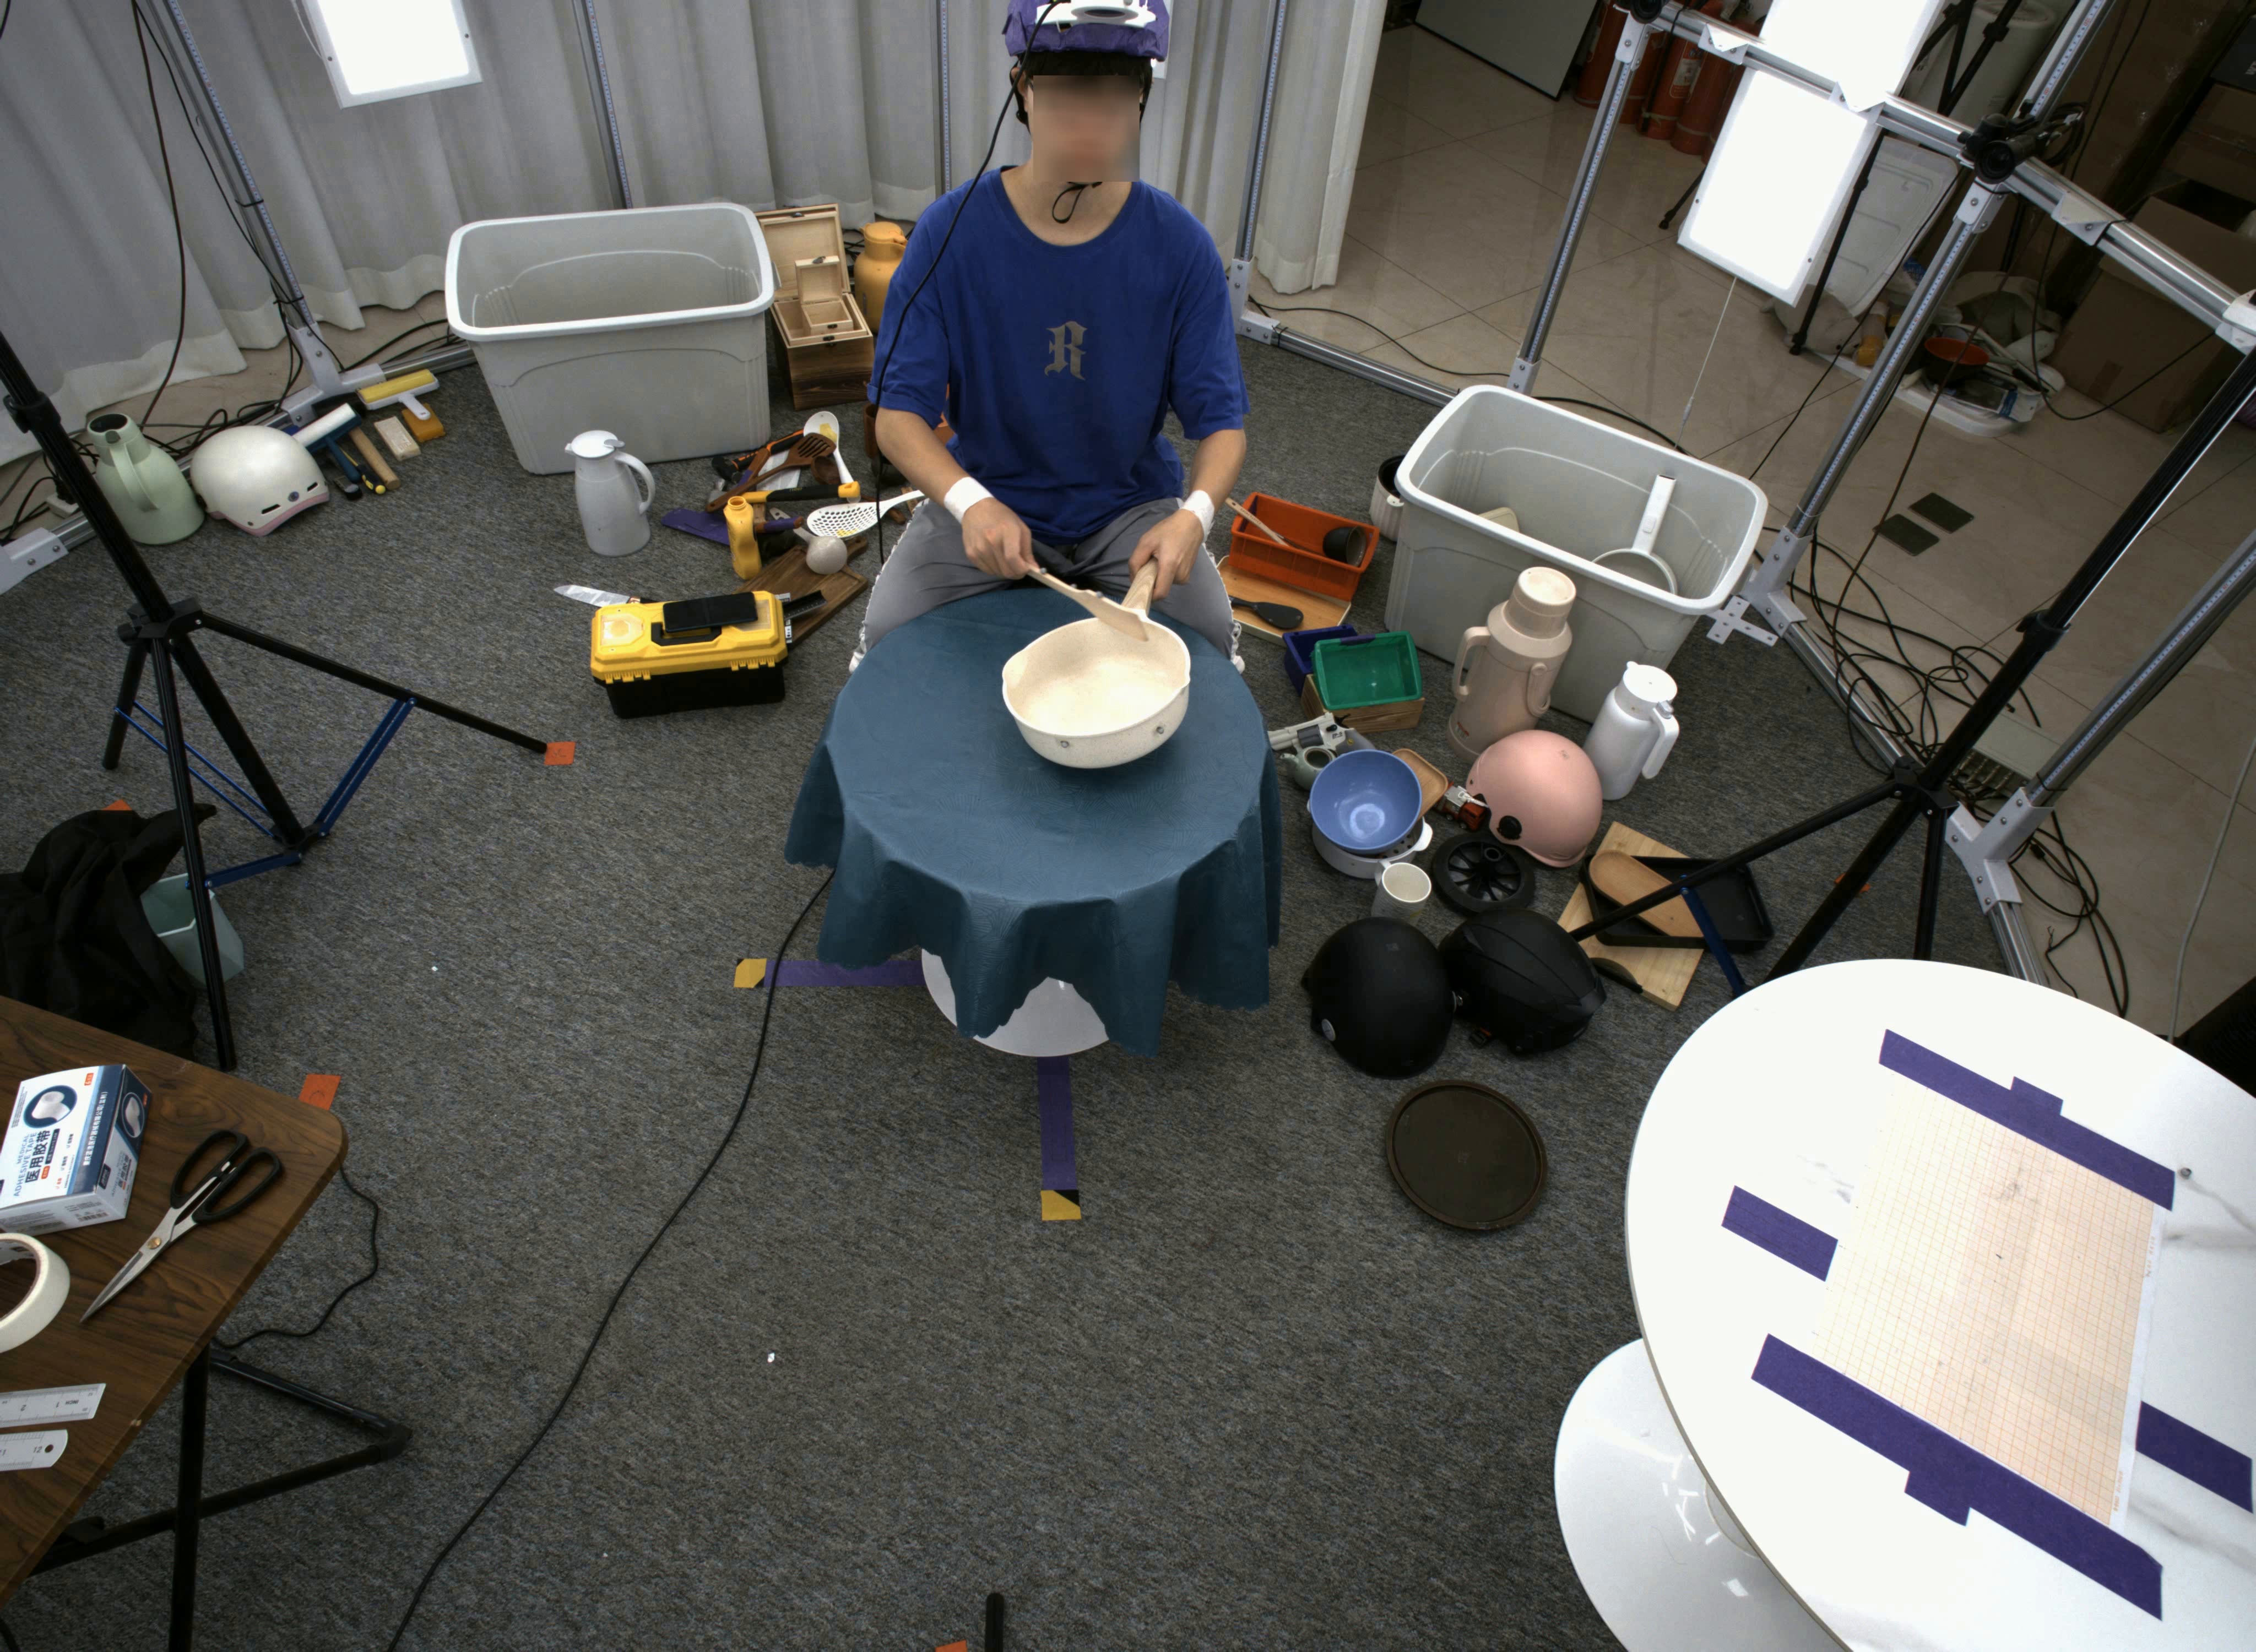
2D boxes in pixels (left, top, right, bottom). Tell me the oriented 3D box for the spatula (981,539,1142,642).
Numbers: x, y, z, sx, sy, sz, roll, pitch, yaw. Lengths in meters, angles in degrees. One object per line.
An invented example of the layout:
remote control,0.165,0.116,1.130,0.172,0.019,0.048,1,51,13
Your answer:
spatula,-0.098,-0.331,1.767,0.297,0.071,0.011,34,80,29

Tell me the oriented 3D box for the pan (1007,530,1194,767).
pan,-0.003,-0.246,1.780,0.264,0.099,0.444,5,46,21
